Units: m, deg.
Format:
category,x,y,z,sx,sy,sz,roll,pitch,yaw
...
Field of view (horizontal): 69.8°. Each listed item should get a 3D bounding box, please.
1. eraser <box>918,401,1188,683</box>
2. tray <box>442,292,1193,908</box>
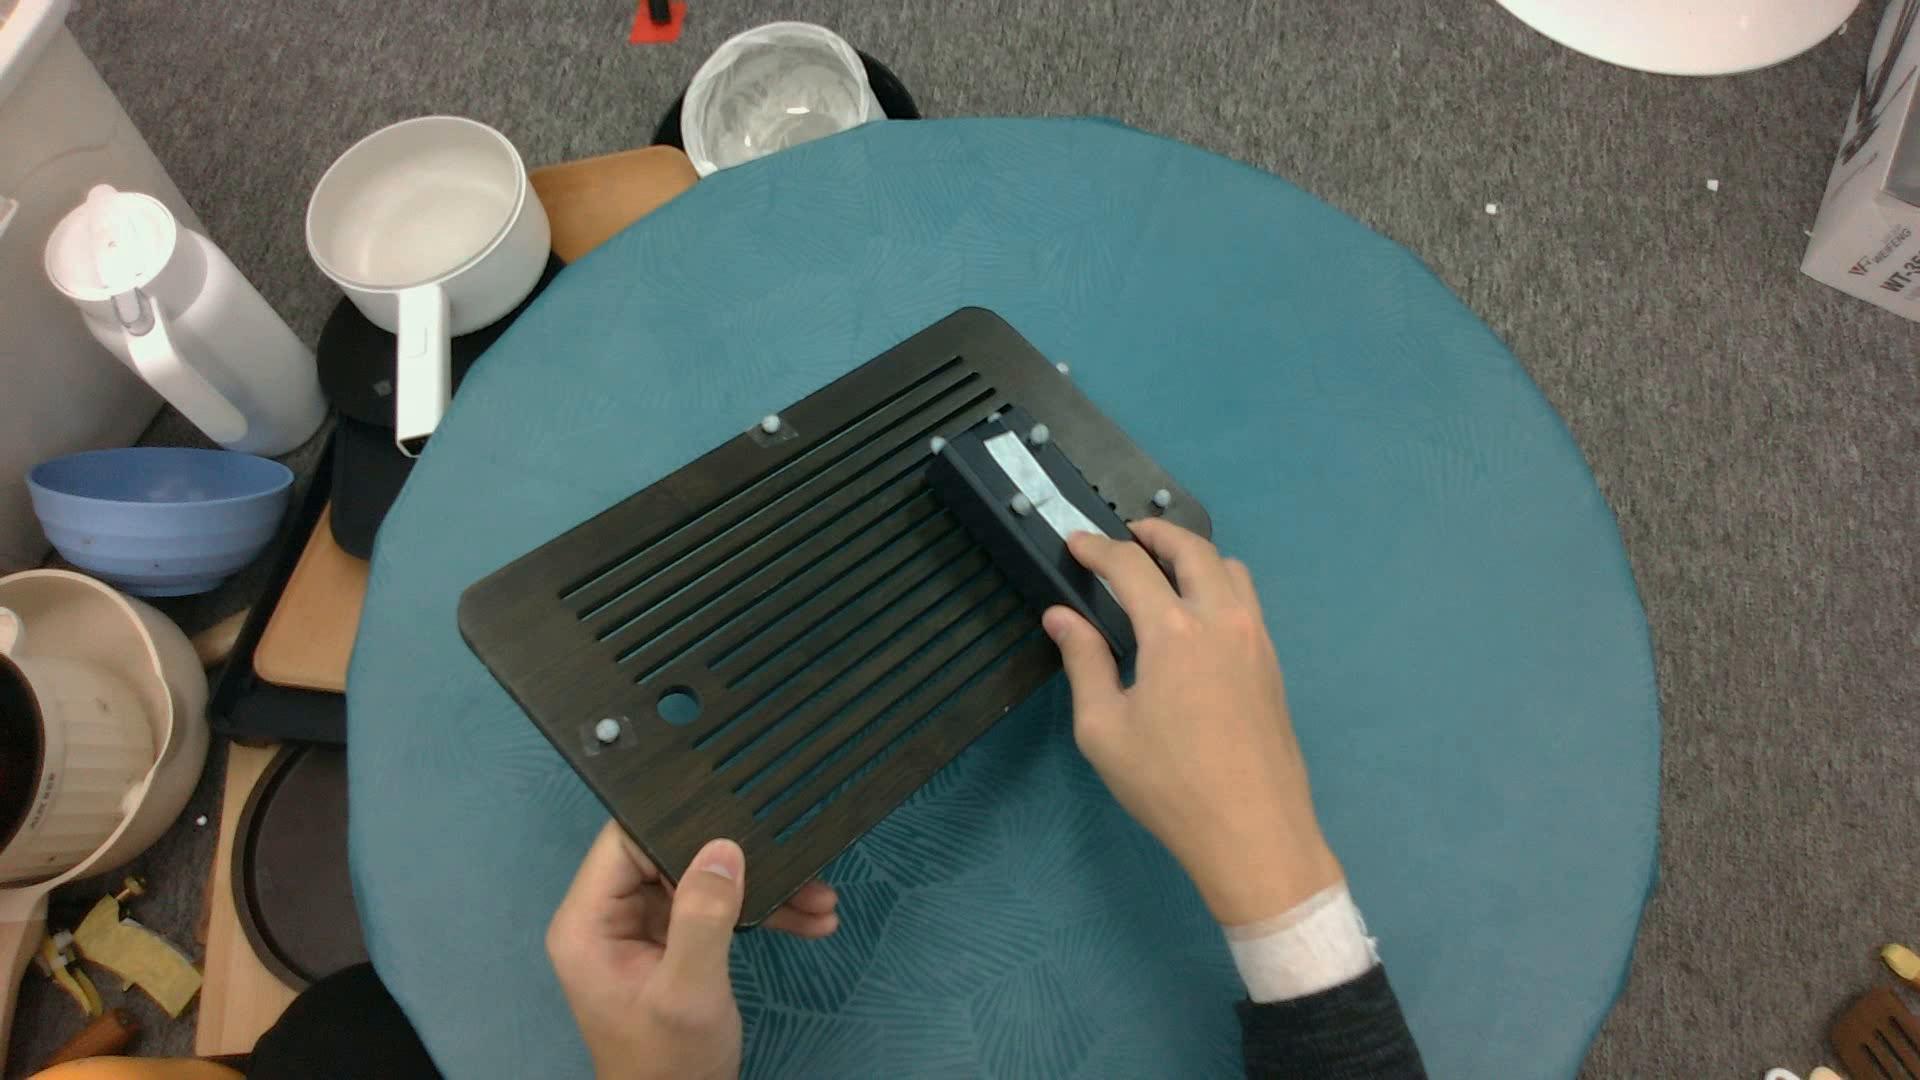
category,x,y,z,sx,sy,sz,roll,pitch,yaw
eraser,0.039,-0.001,0.601,0.054,0.030,0.125,-31,73,-32
tray,-0.044,0.005,0.591,0.170,0.018,0.307,45,54,13
